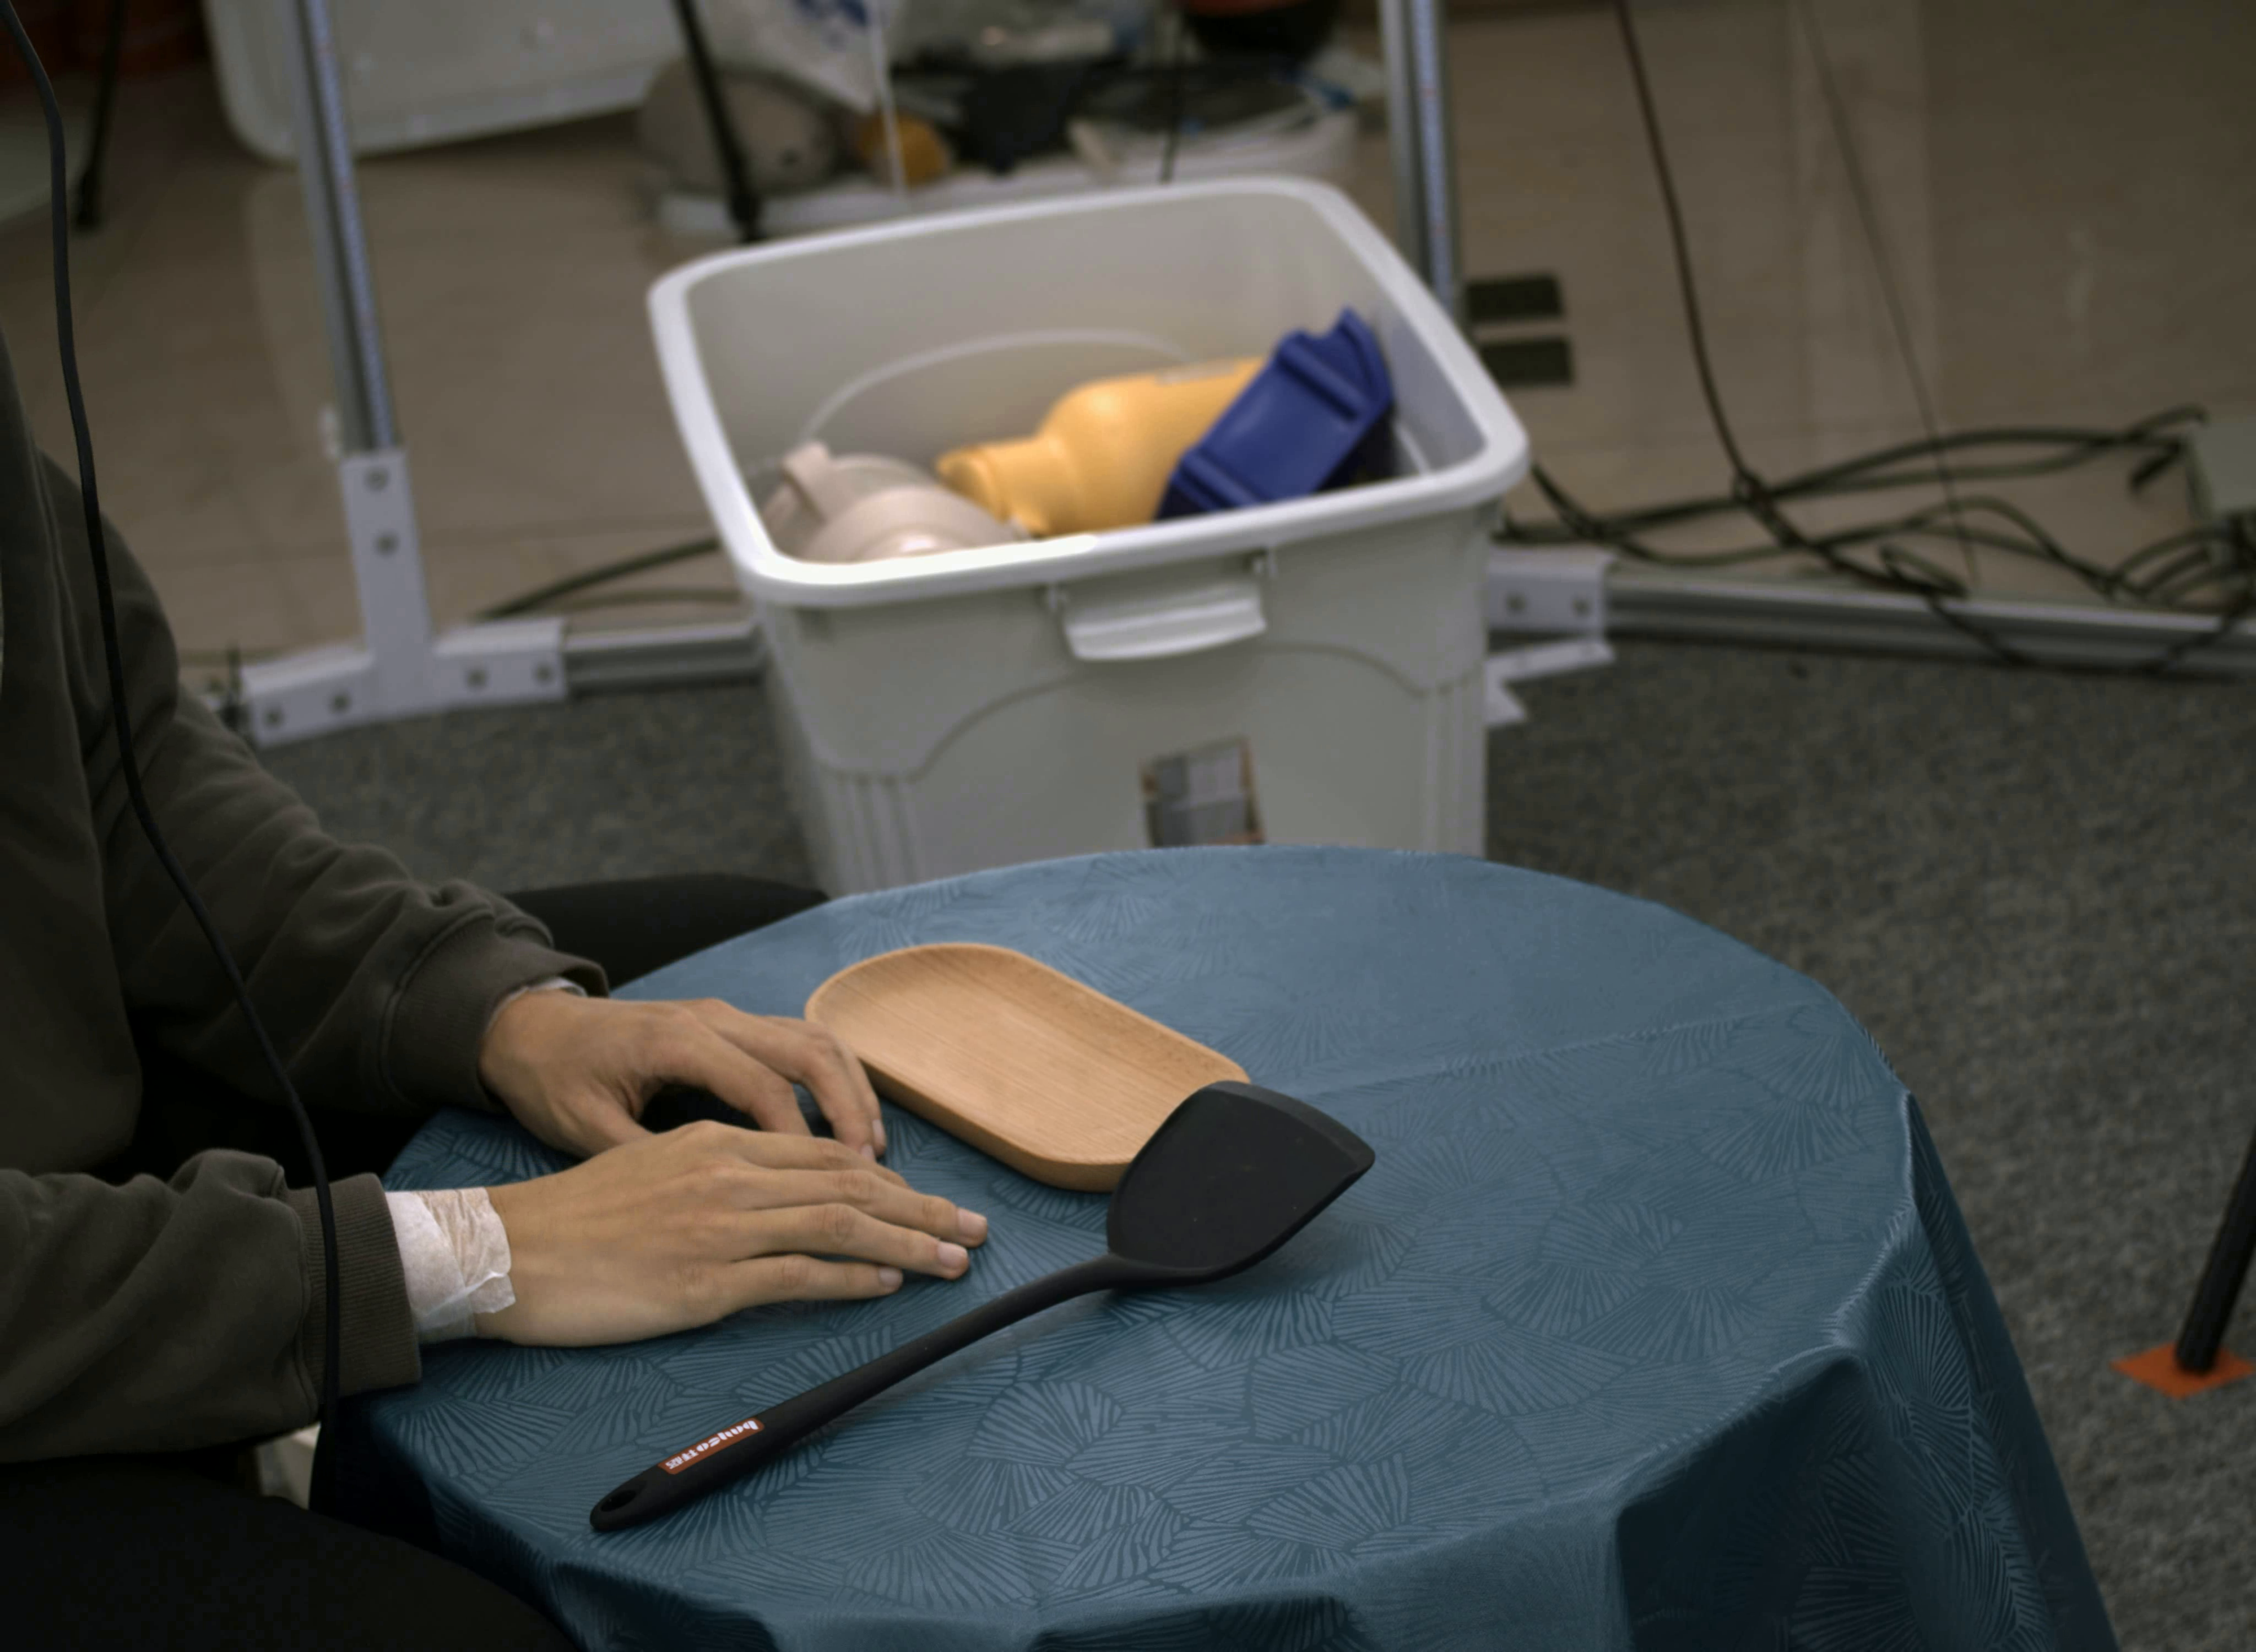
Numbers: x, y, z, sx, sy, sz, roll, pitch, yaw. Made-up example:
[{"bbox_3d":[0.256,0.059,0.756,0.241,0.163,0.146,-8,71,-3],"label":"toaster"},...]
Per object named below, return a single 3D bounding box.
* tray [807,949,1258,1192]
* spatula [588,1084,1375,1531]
[{"bbox_3d":[-0.039,0.095,2.232,0.101,0.020,0.229,-23,31,-31],"label":"tray"},{"bbox_3d":[-0.058,0.176,2.039,0.324,0.041,0.099,-22,28,-30],"label":"spatula"}]
